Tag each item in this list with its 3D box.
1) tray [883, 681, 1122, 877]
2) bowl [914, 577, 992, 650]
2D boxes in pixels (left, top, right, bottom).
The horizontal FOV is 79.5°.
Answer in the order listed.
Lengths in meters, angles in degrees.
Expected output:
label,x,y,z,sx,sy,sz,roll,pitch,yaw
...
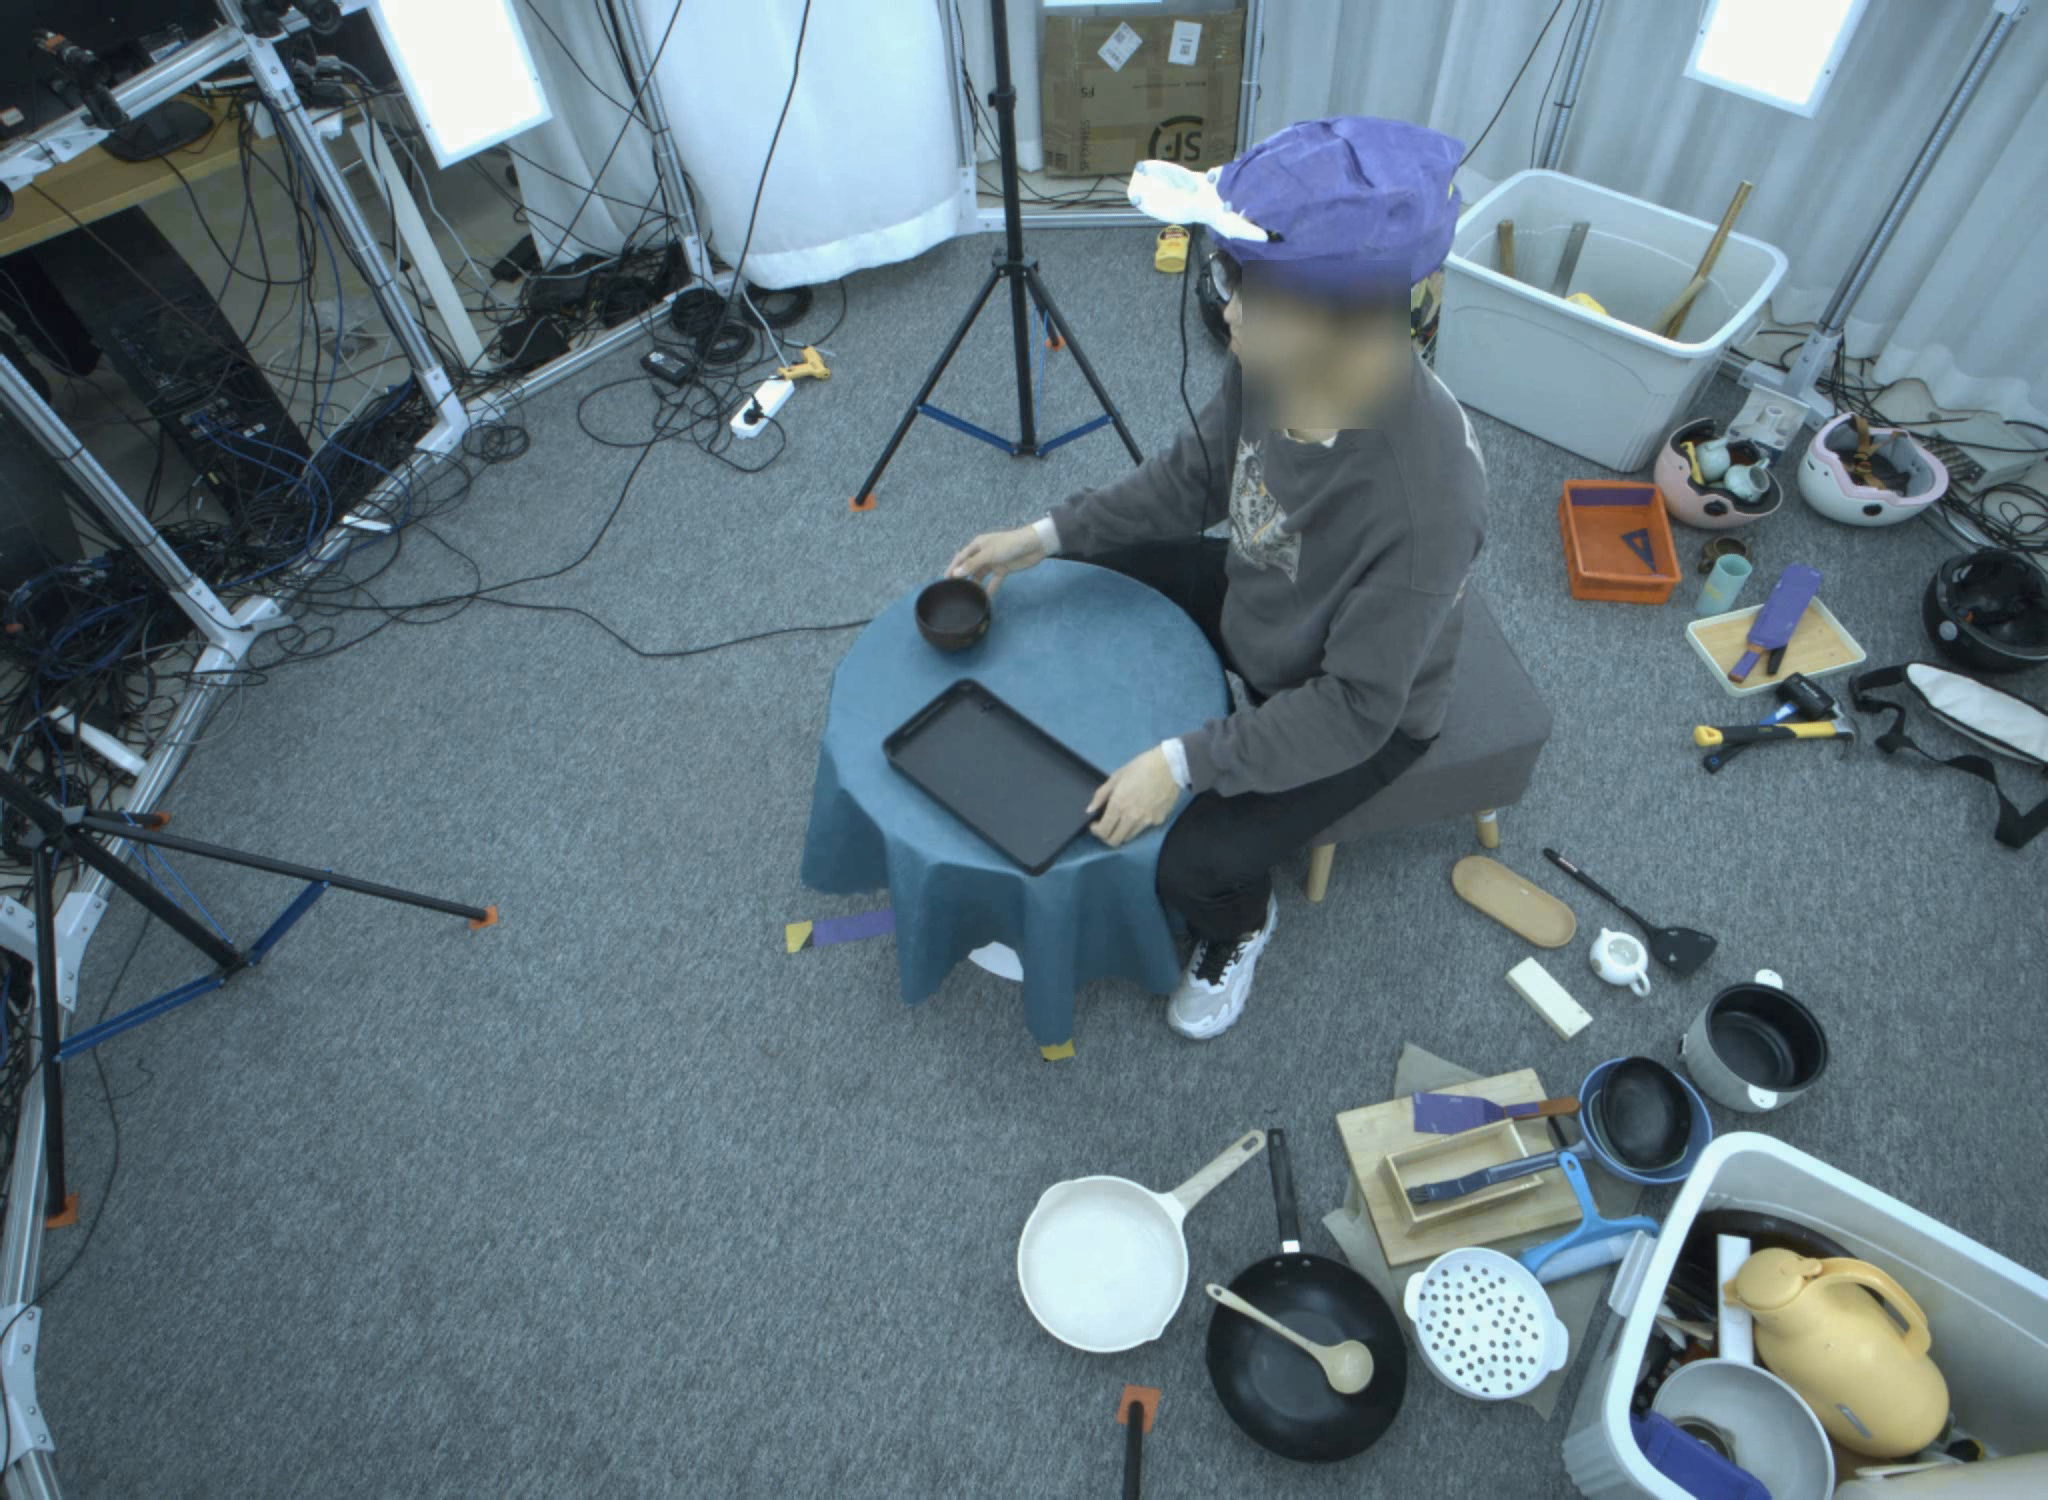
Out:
label,x,y,z,sx,sy,sz,roll,pitch,yaw
tray,-0.032,0.036,1.738,0.312,0.037,0.185,35,62,25
bowl,-0.108,-0.202,1.890,0.118,0.070,0.117,0,53,1
